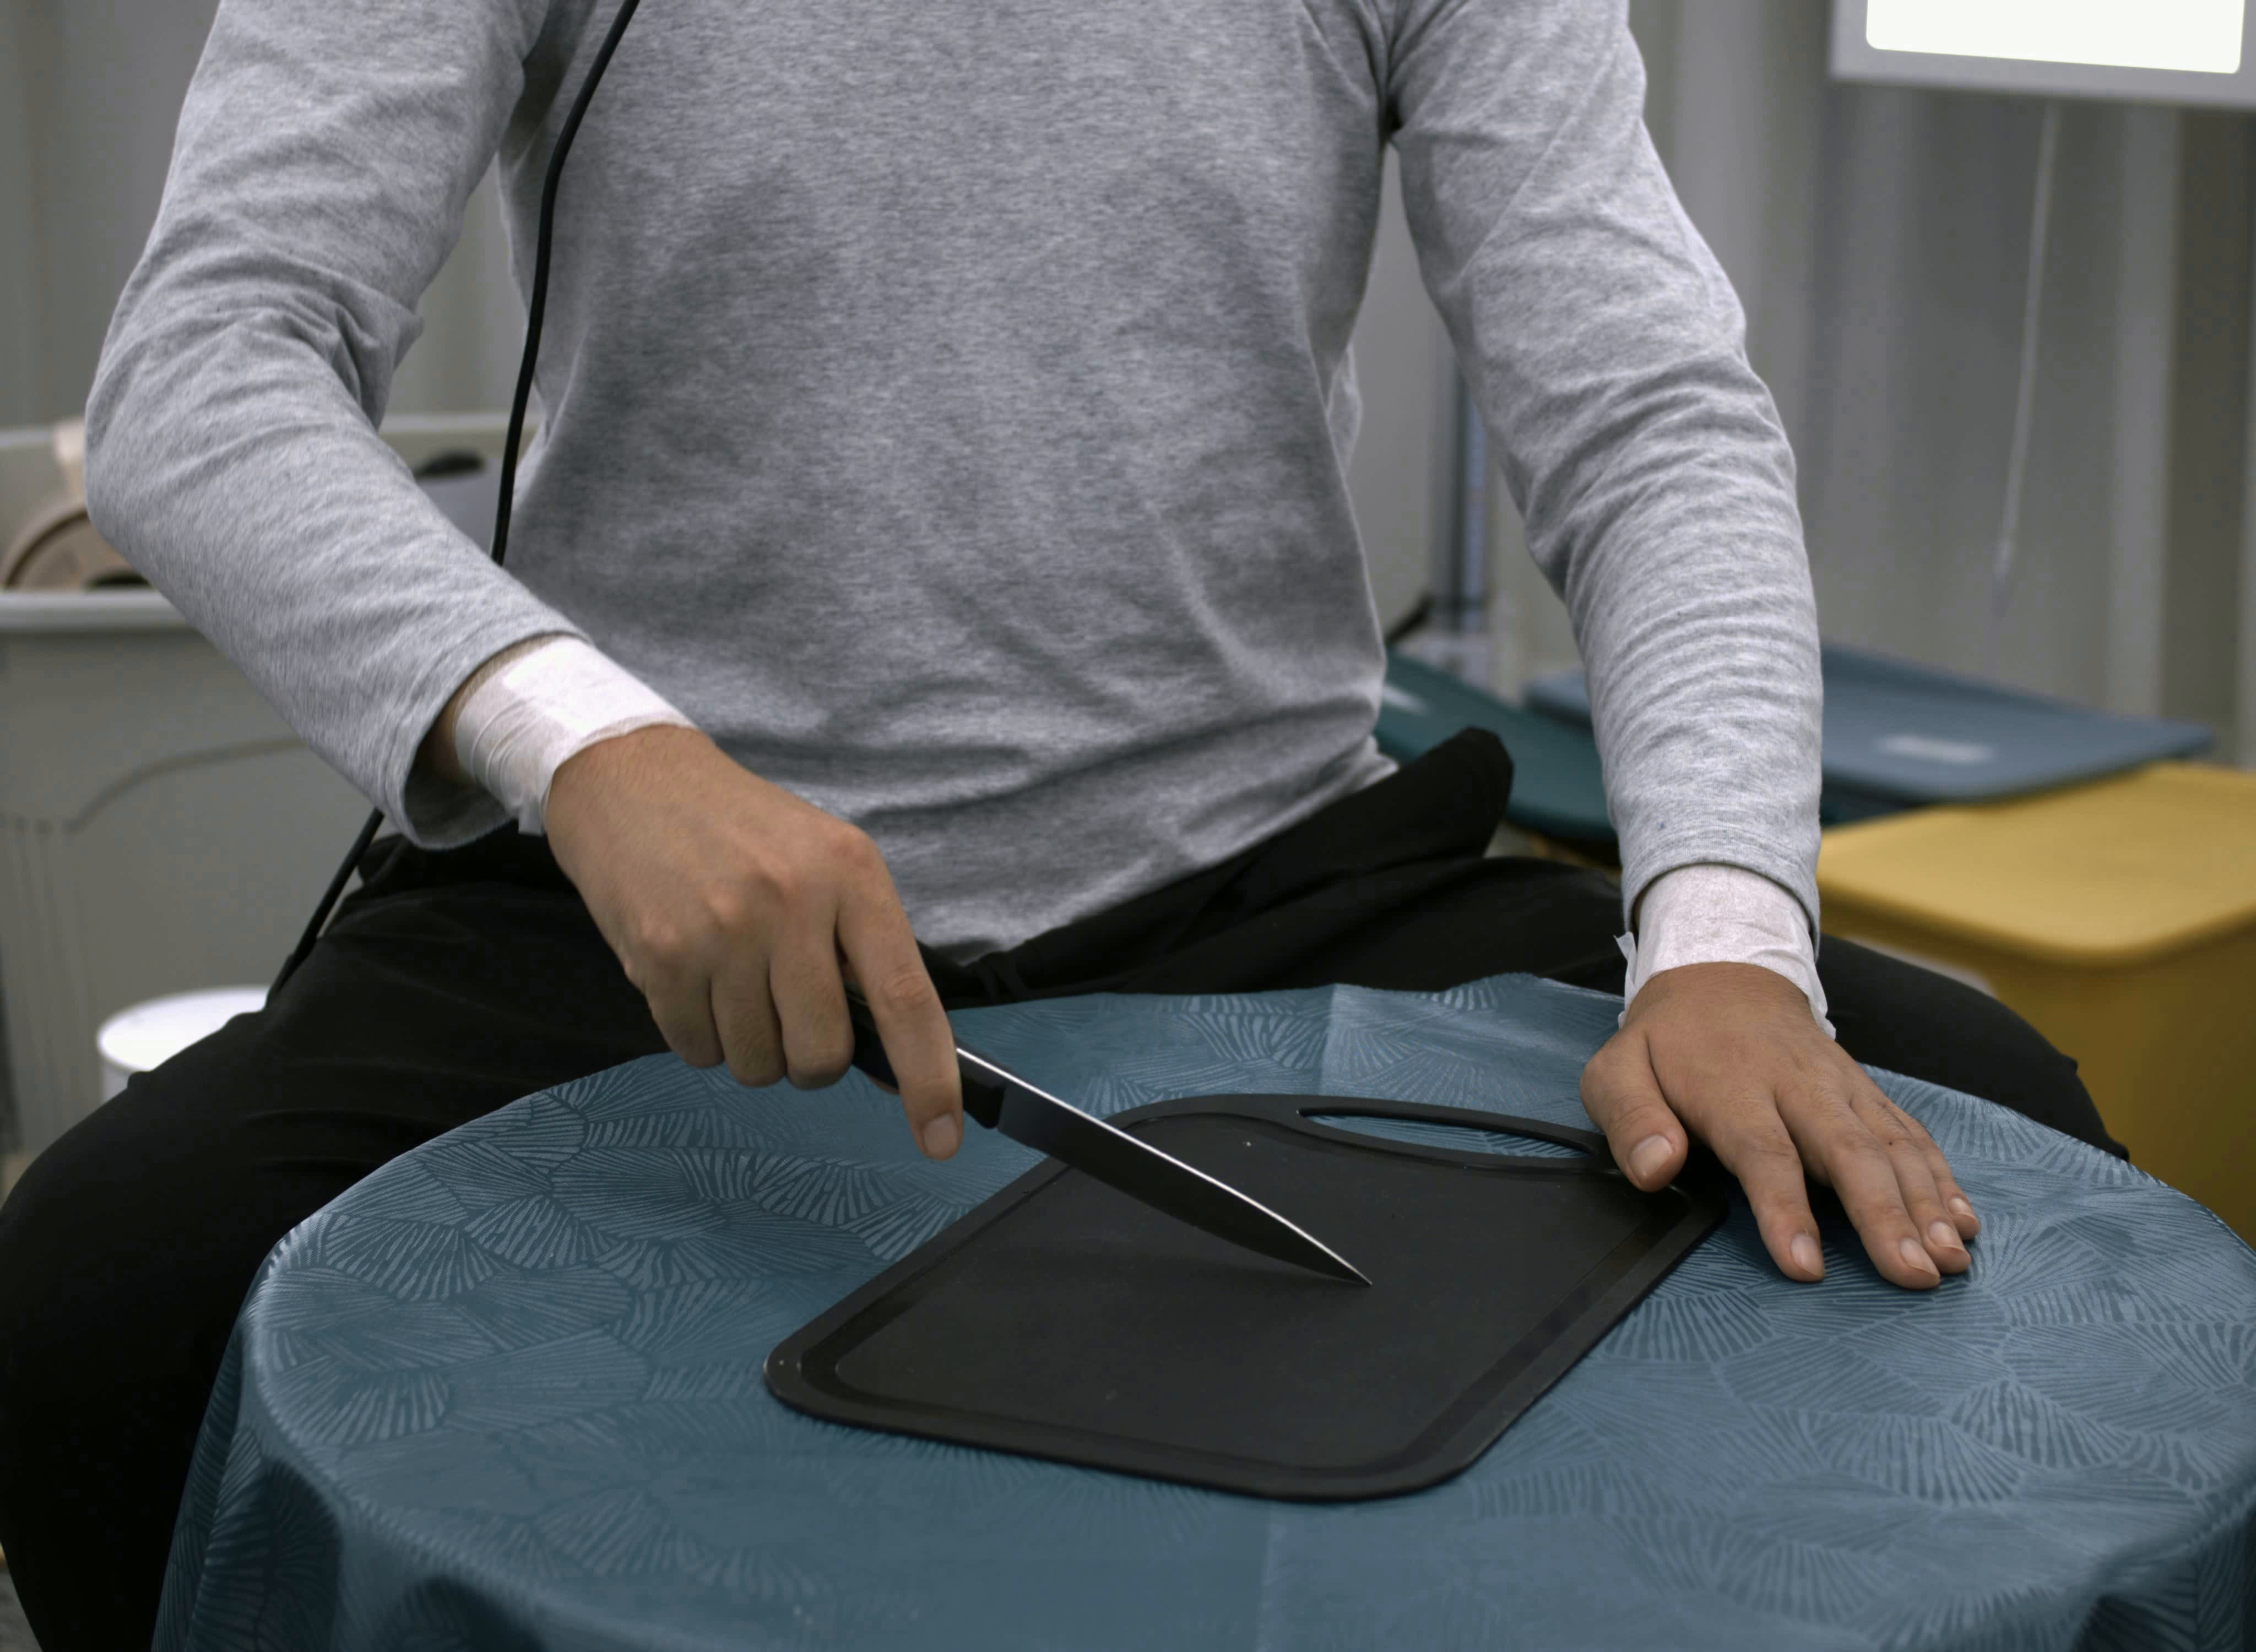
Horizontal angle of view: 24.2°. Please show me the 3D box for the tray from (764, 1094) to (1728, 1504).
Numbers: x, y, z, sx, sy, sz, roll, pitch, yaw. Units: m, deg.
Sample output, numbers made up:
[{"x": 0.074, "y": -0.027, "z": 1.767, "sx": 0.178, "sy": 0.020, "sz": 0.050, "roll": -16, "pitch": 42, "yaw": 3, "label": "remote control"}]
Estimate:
[{"x": 0.044, "y": 0.129, "z": 1.553, "sx": 0.209, "sy": 0.010, "sz": 0.326, "roll": 8, "pitch": 17, "yaw": 23, "label": "tray"}]

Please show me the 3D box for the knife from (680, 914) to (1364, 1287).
[{"x": -0.031, "y": 0.083, "z": 1.568, "sx": 0.236, "sy": 0.024, "sz": 0.016, "roll": 27, "pitch": 37, "yaw": 13, "label": "knife"}]
